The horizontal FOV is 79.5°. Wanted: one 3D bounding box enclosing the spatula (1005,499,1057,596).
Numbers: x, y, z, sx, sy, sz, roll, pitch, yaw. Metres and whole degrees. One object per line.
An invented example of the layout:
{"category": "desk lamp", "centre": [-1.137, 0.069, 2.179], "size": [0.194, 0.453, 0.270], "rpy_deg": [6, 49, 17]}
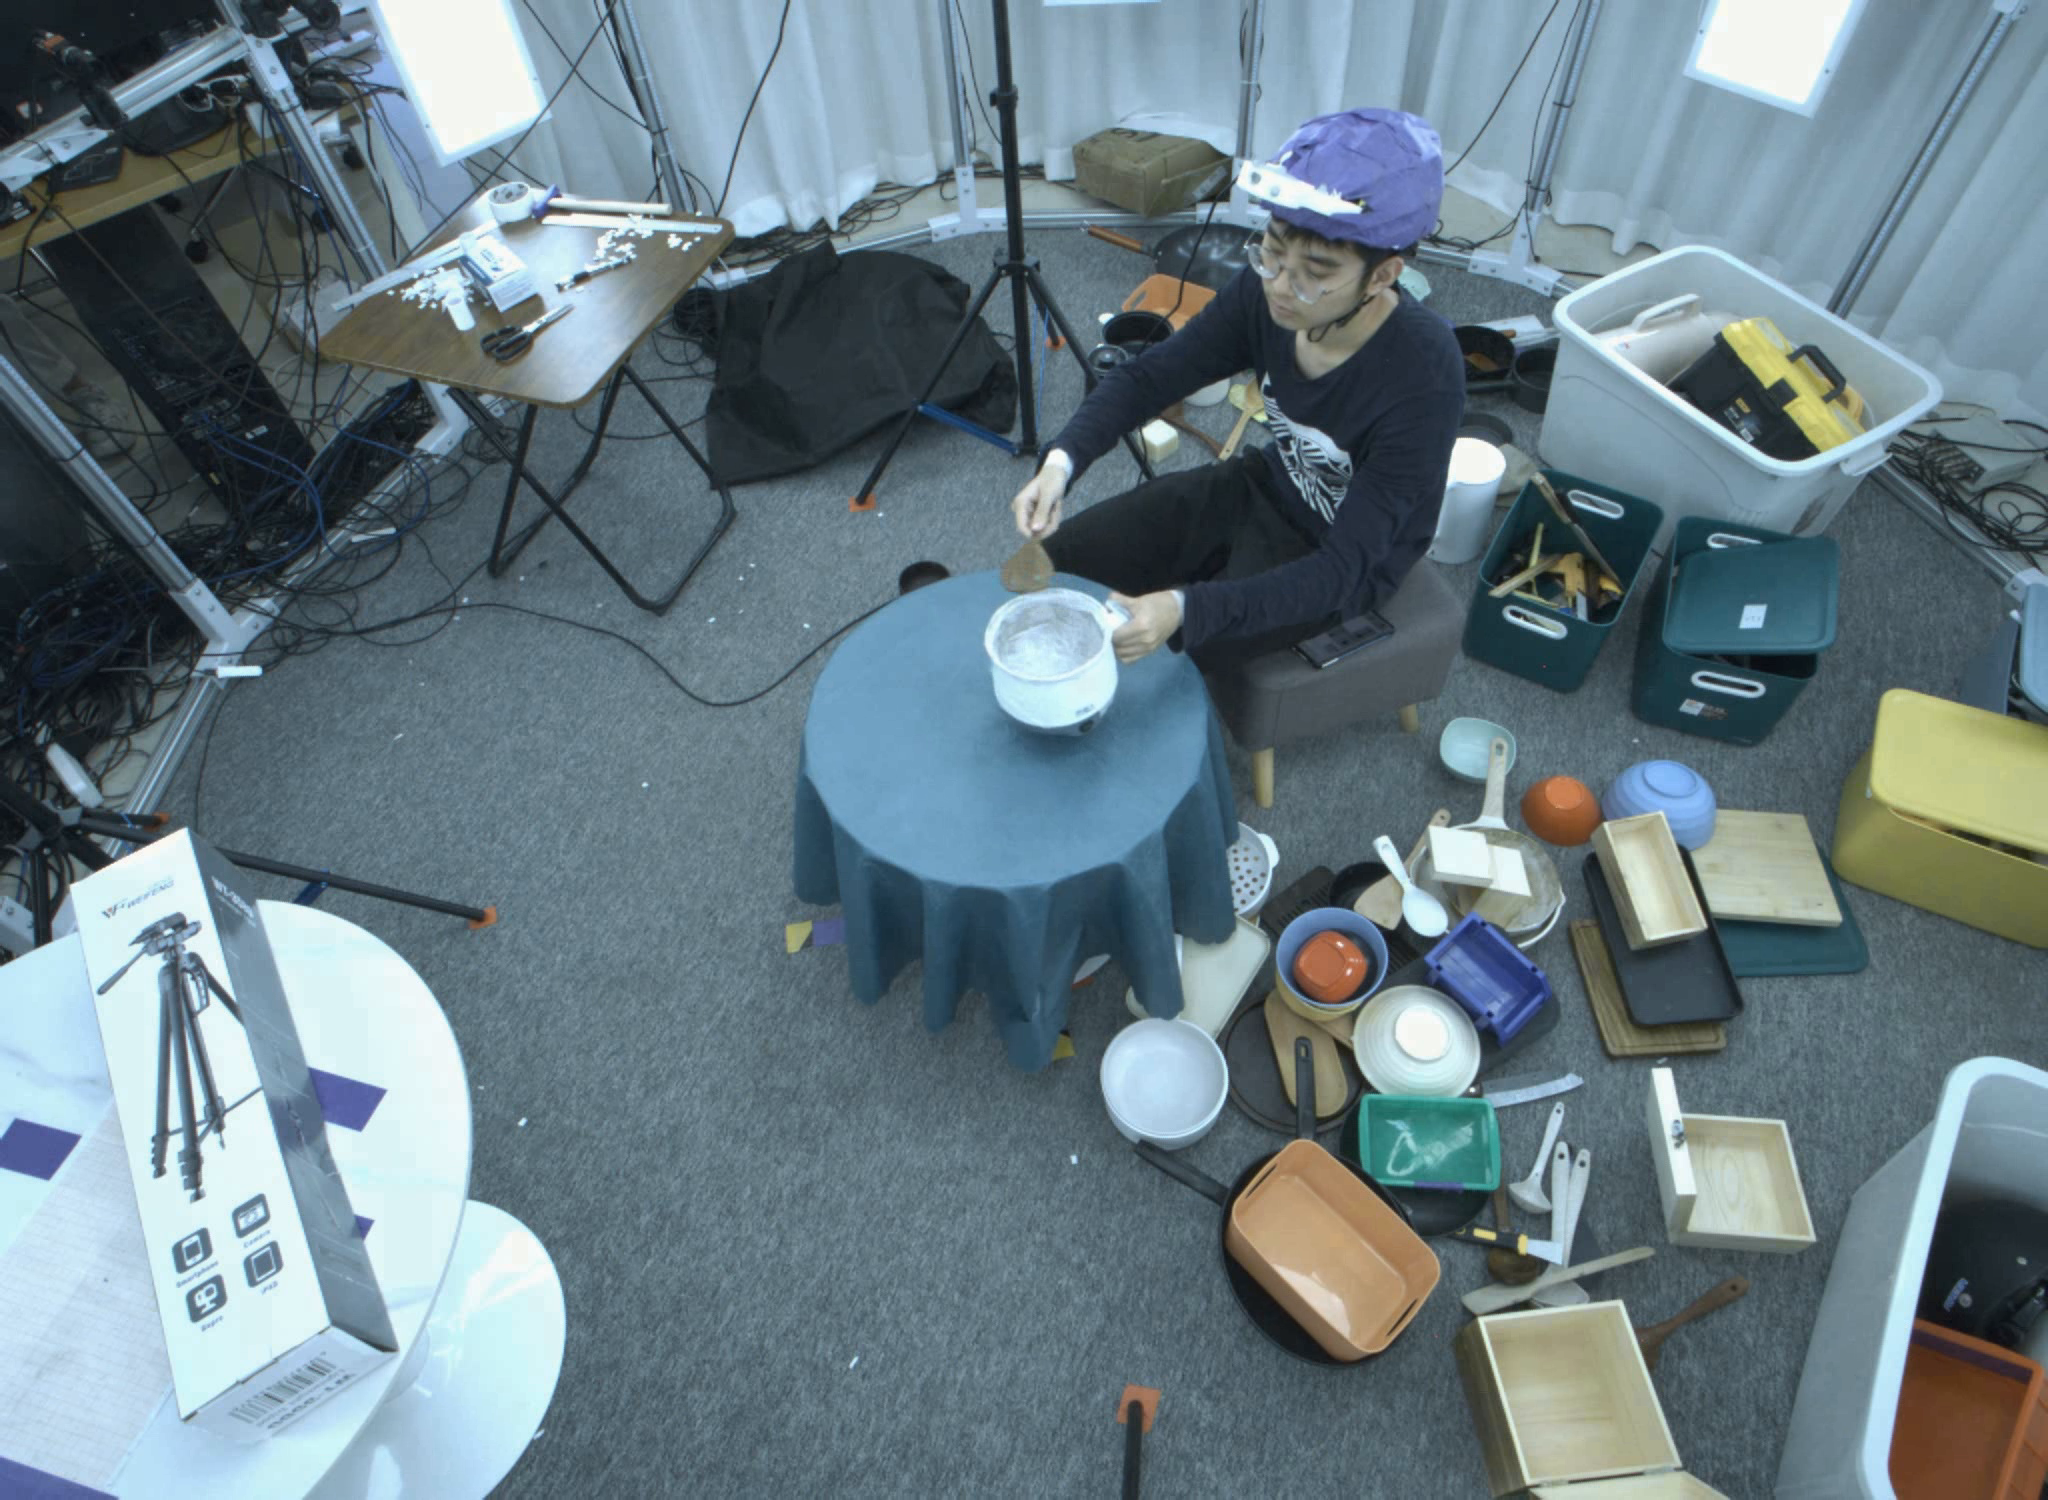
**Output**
{"category": "spatula", "centre": [0.020, -0.289, 1.726], "size": [0.071, 0.009, 0.214], "rpy_deg": [6, 48, 6]}

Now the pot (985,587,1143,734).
{"category": "pot", "centre": [0.064, -0.136, 1.754], "size": [0.235, 0.138, 0.175], "rpy_deg": [-28, 56, -14]}
